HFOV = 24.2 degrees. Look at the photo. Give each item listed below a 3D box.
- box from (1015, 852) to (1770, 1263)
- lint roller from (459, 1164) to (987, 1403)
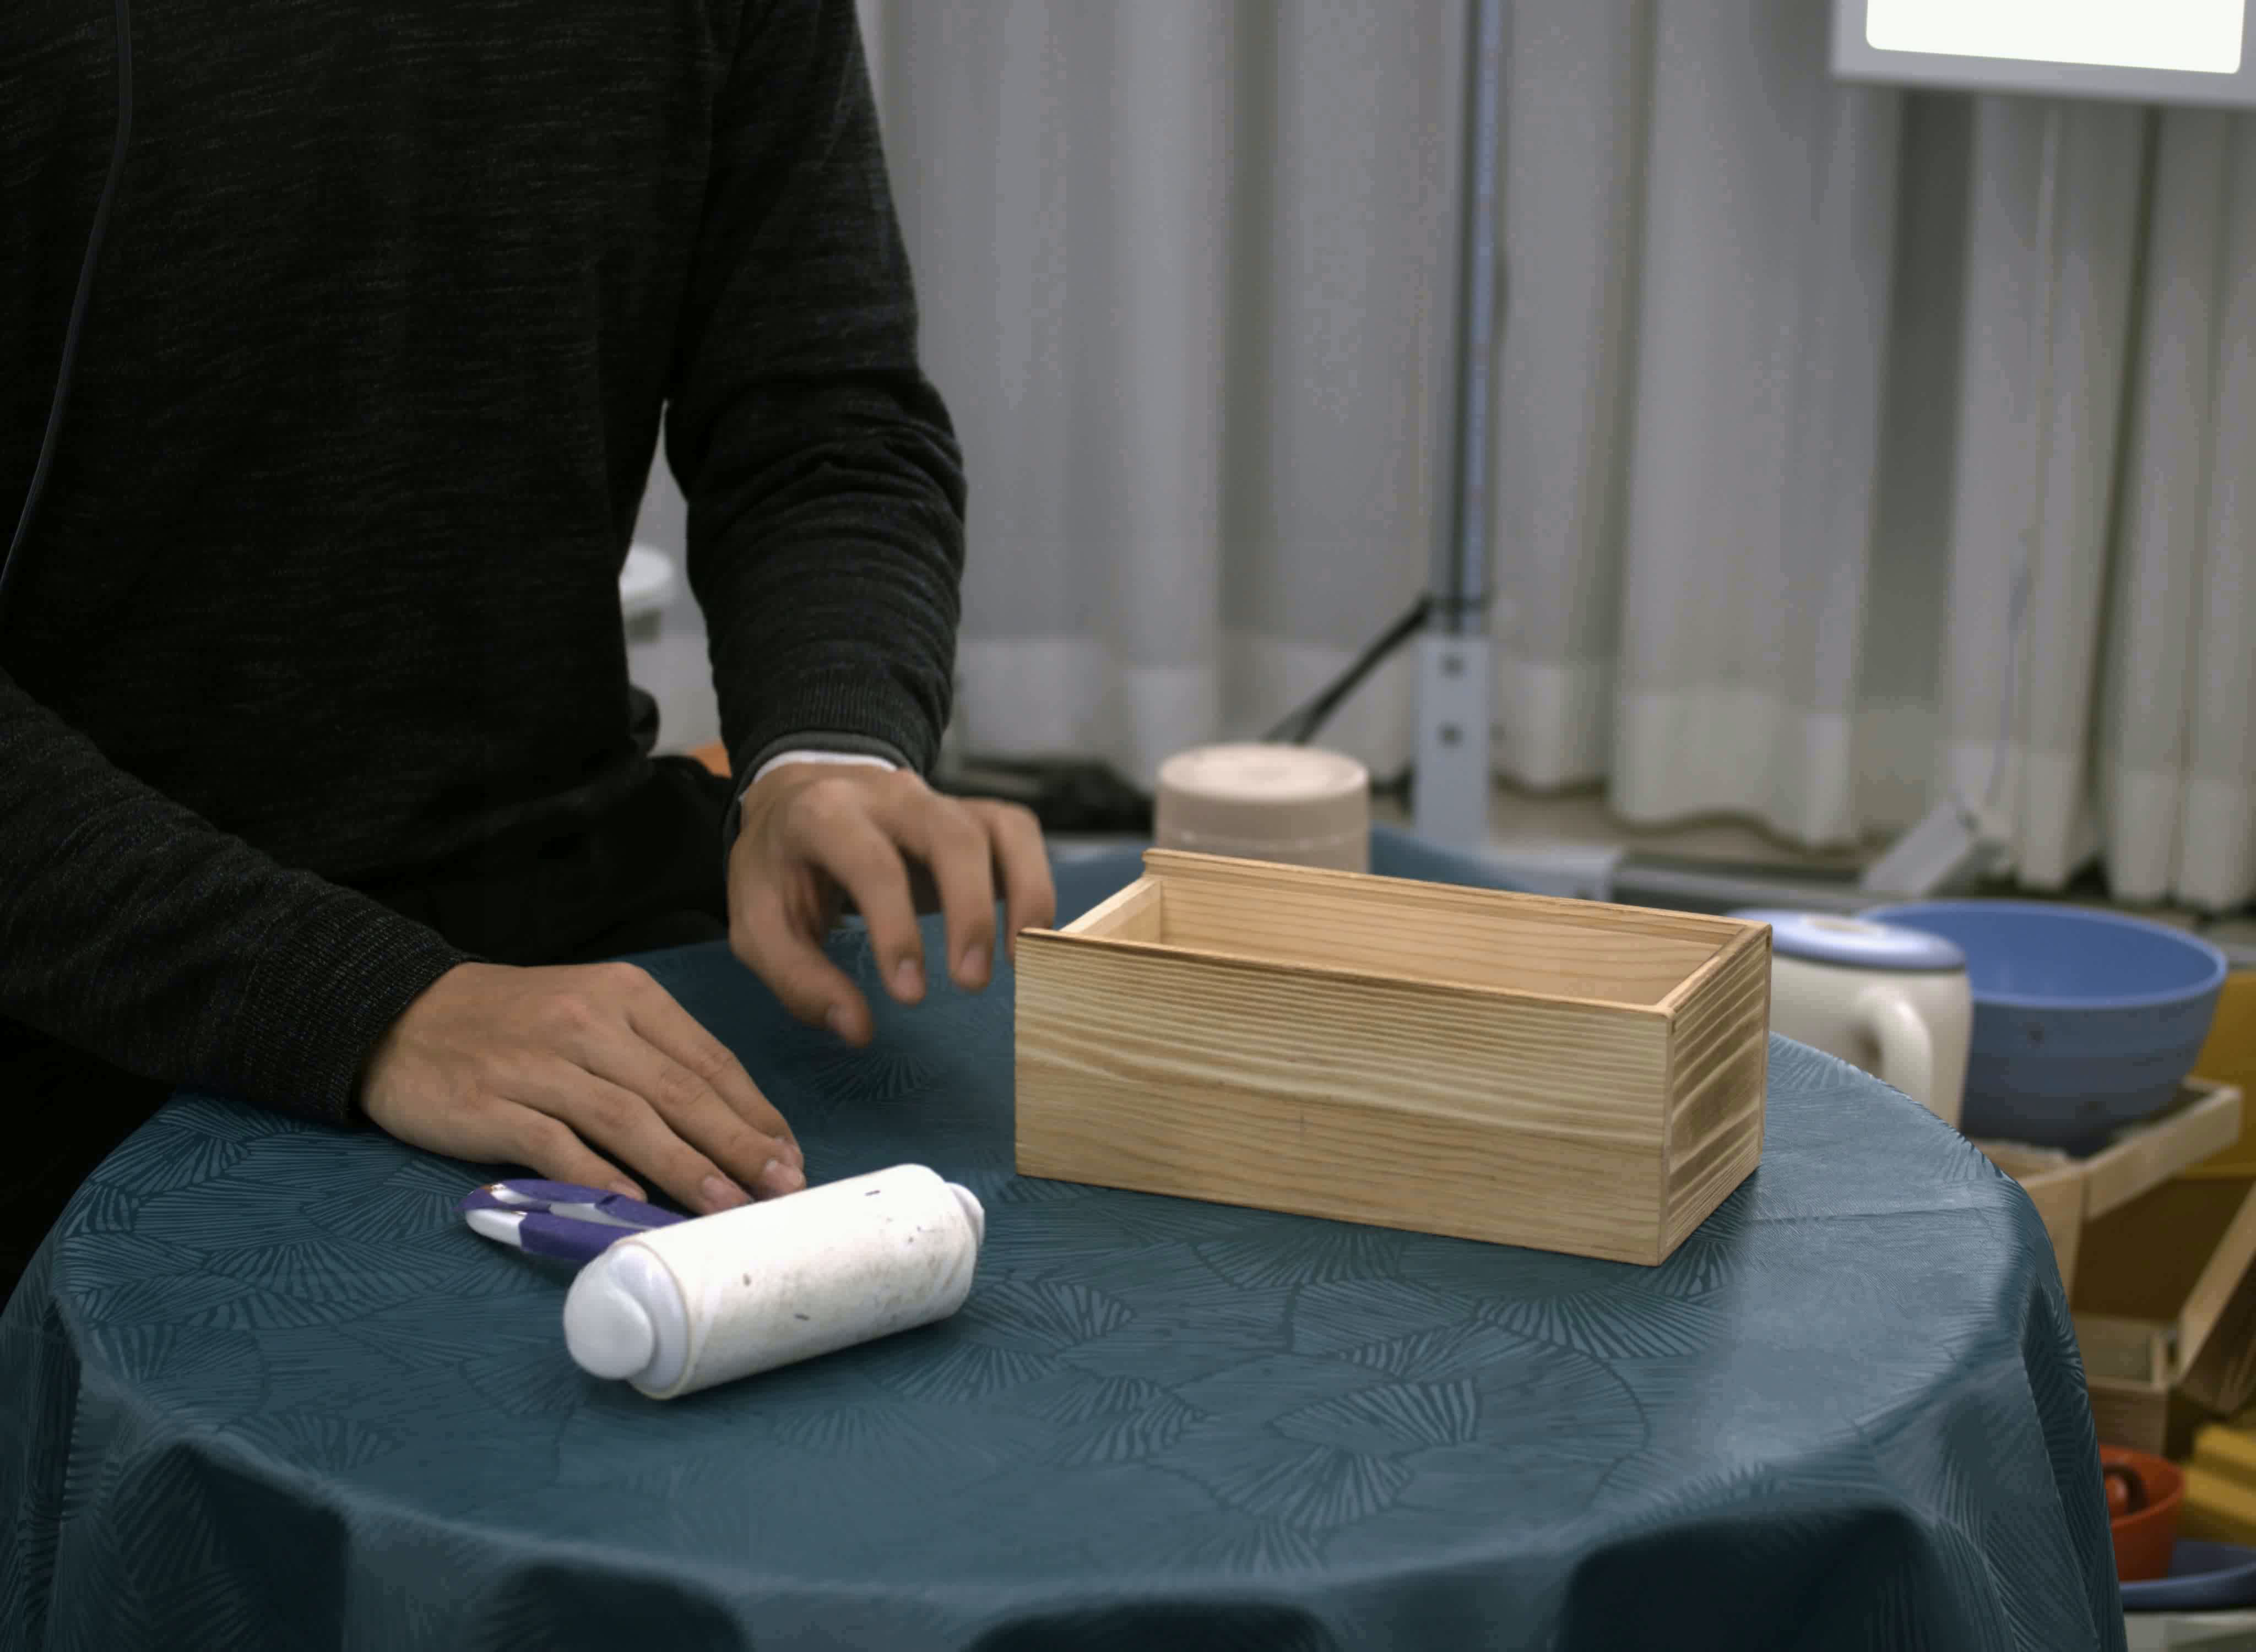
[{"bbox_3d":[0.082,0.069,1.630,0.209,0.081,0.107,6,17,22],"label":"box"},{"bbox_3d":[-0.137,0.113,1.525,0.133,0.050,0.178,-13,22,-37],"label":"lint roller"}]
